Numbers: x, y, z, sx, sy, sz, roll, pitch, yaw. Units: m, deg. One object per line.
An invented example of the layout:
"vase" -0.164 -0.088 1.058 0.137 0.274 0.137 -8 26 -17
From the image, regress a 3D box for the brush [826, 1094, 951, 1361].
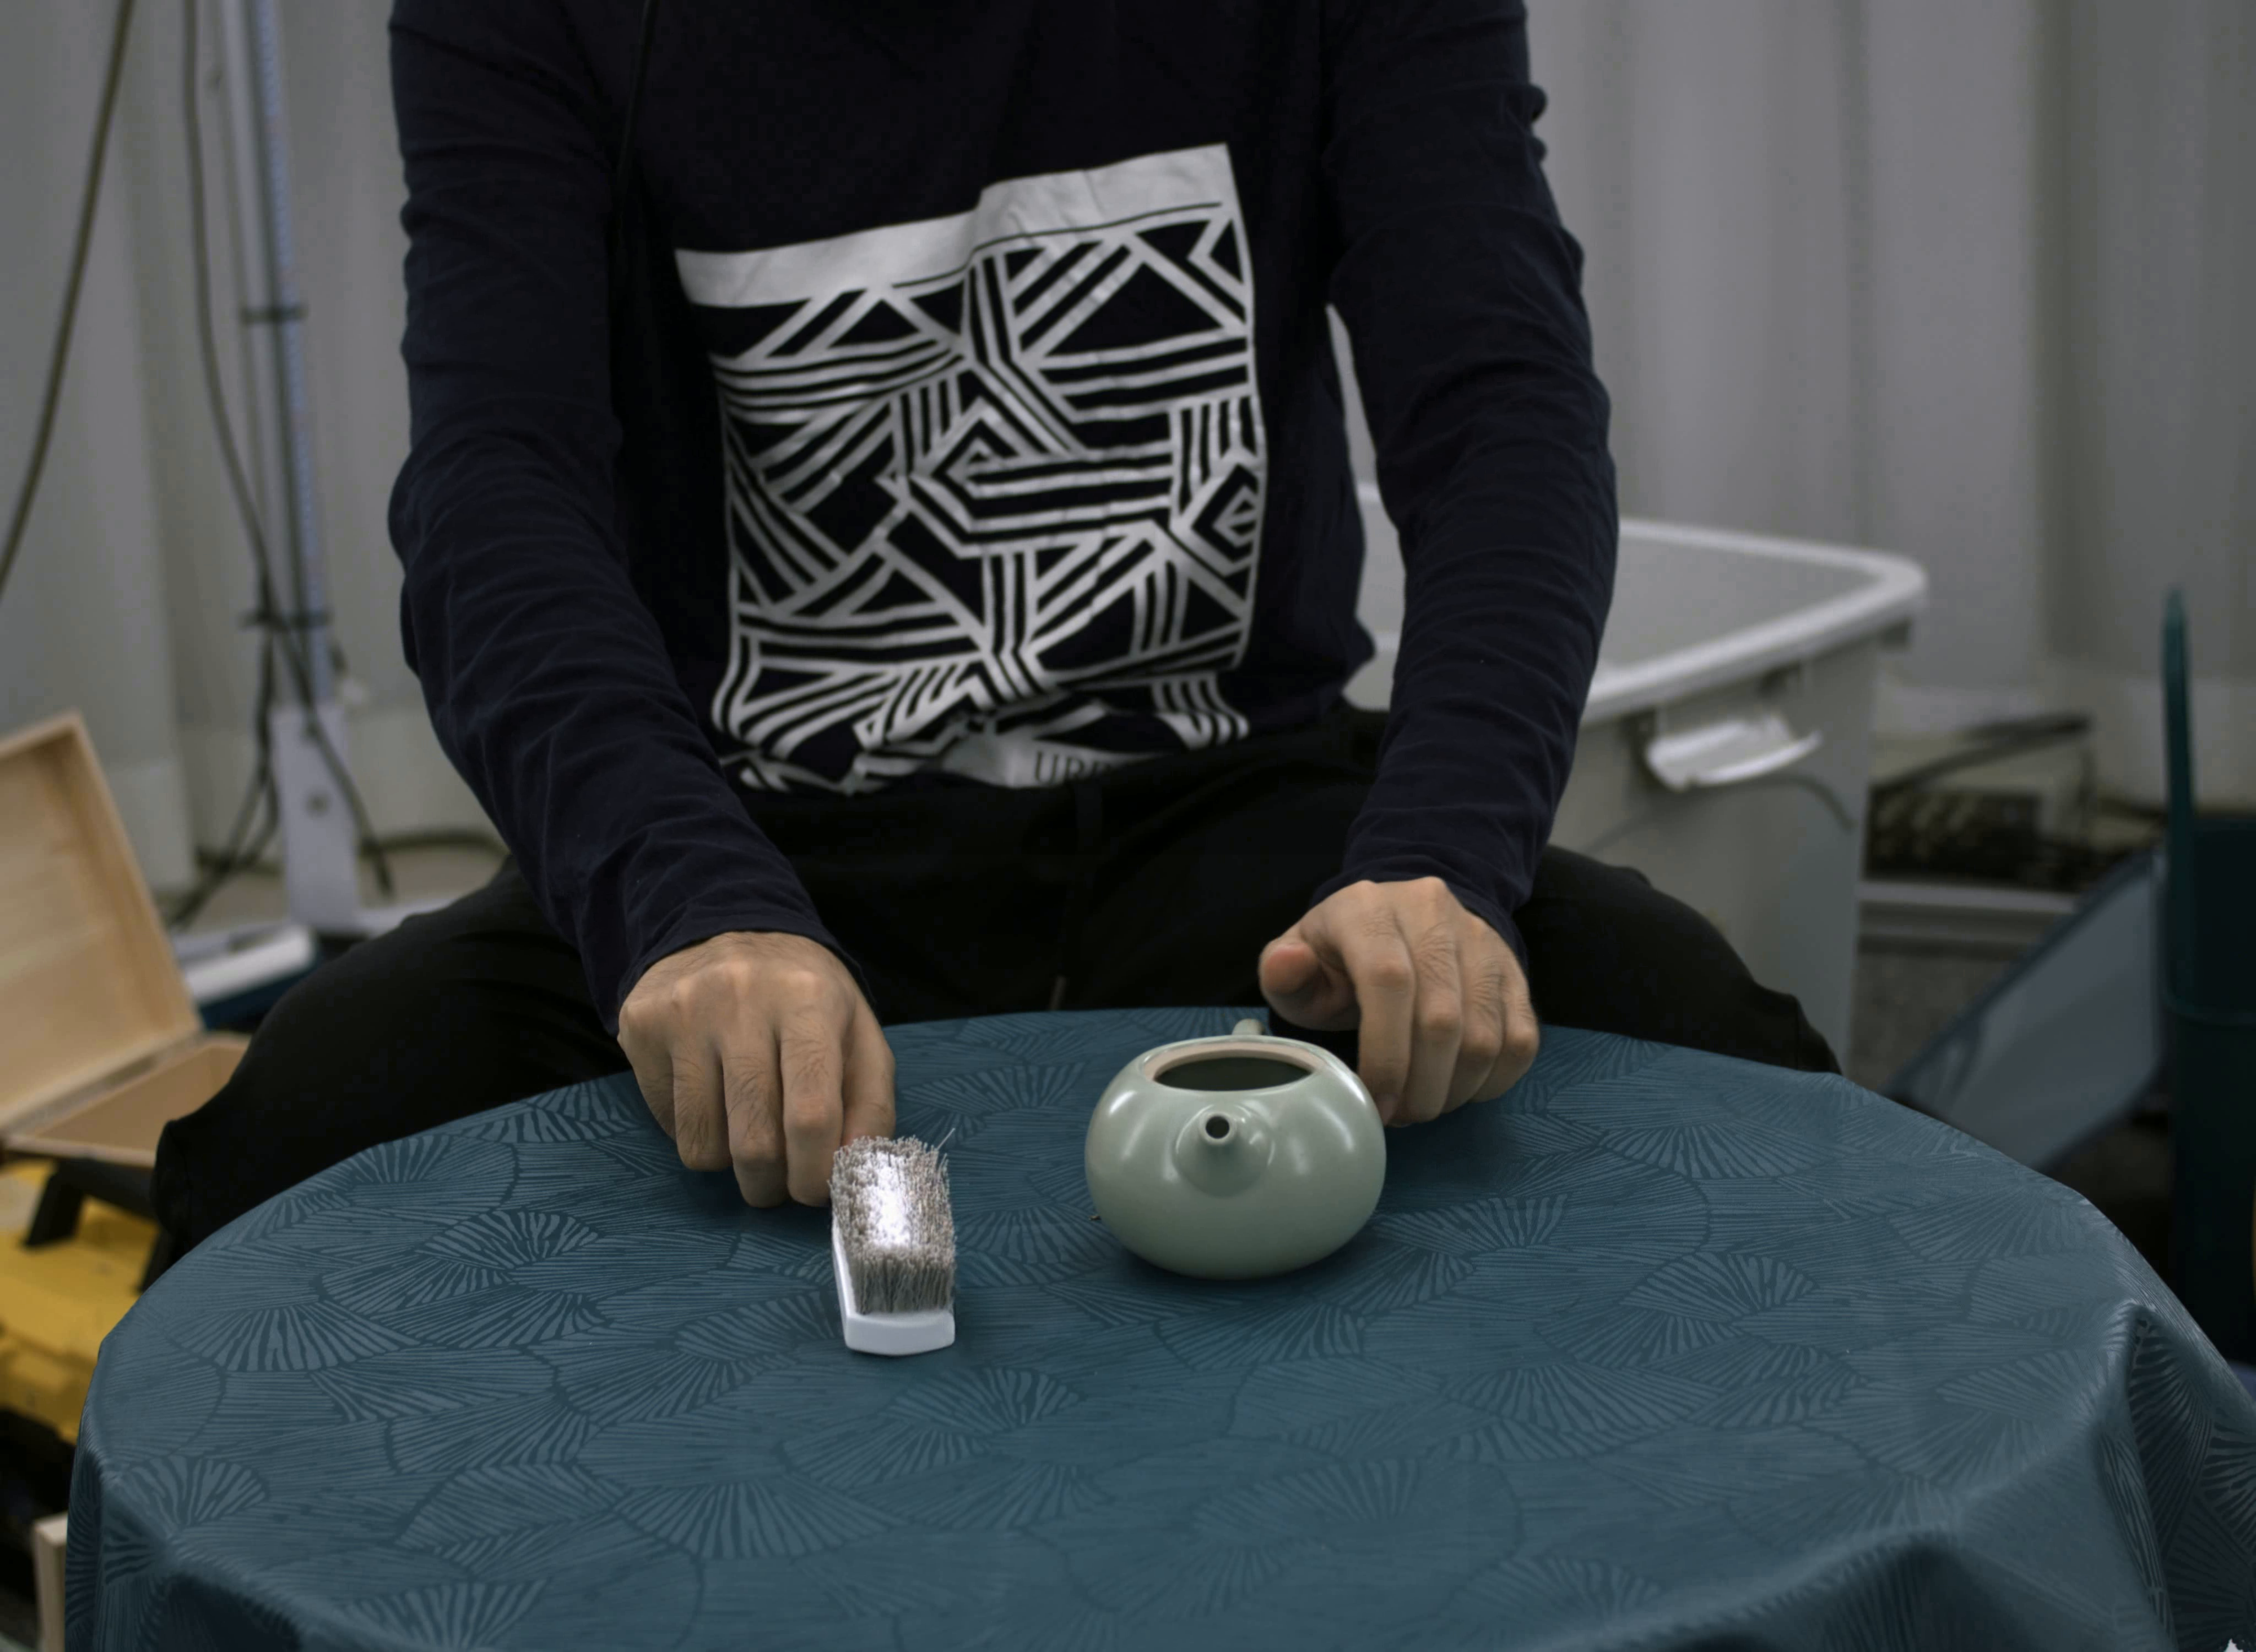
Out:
"brush" -0.078 0.103 1.683 0.034 0.050 0.245 -5 15 -4

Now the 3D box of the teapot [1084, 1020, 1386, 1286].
"teapot" 0.034 0.099 1.658 0.091 0.061 0.129 -5 14 13
